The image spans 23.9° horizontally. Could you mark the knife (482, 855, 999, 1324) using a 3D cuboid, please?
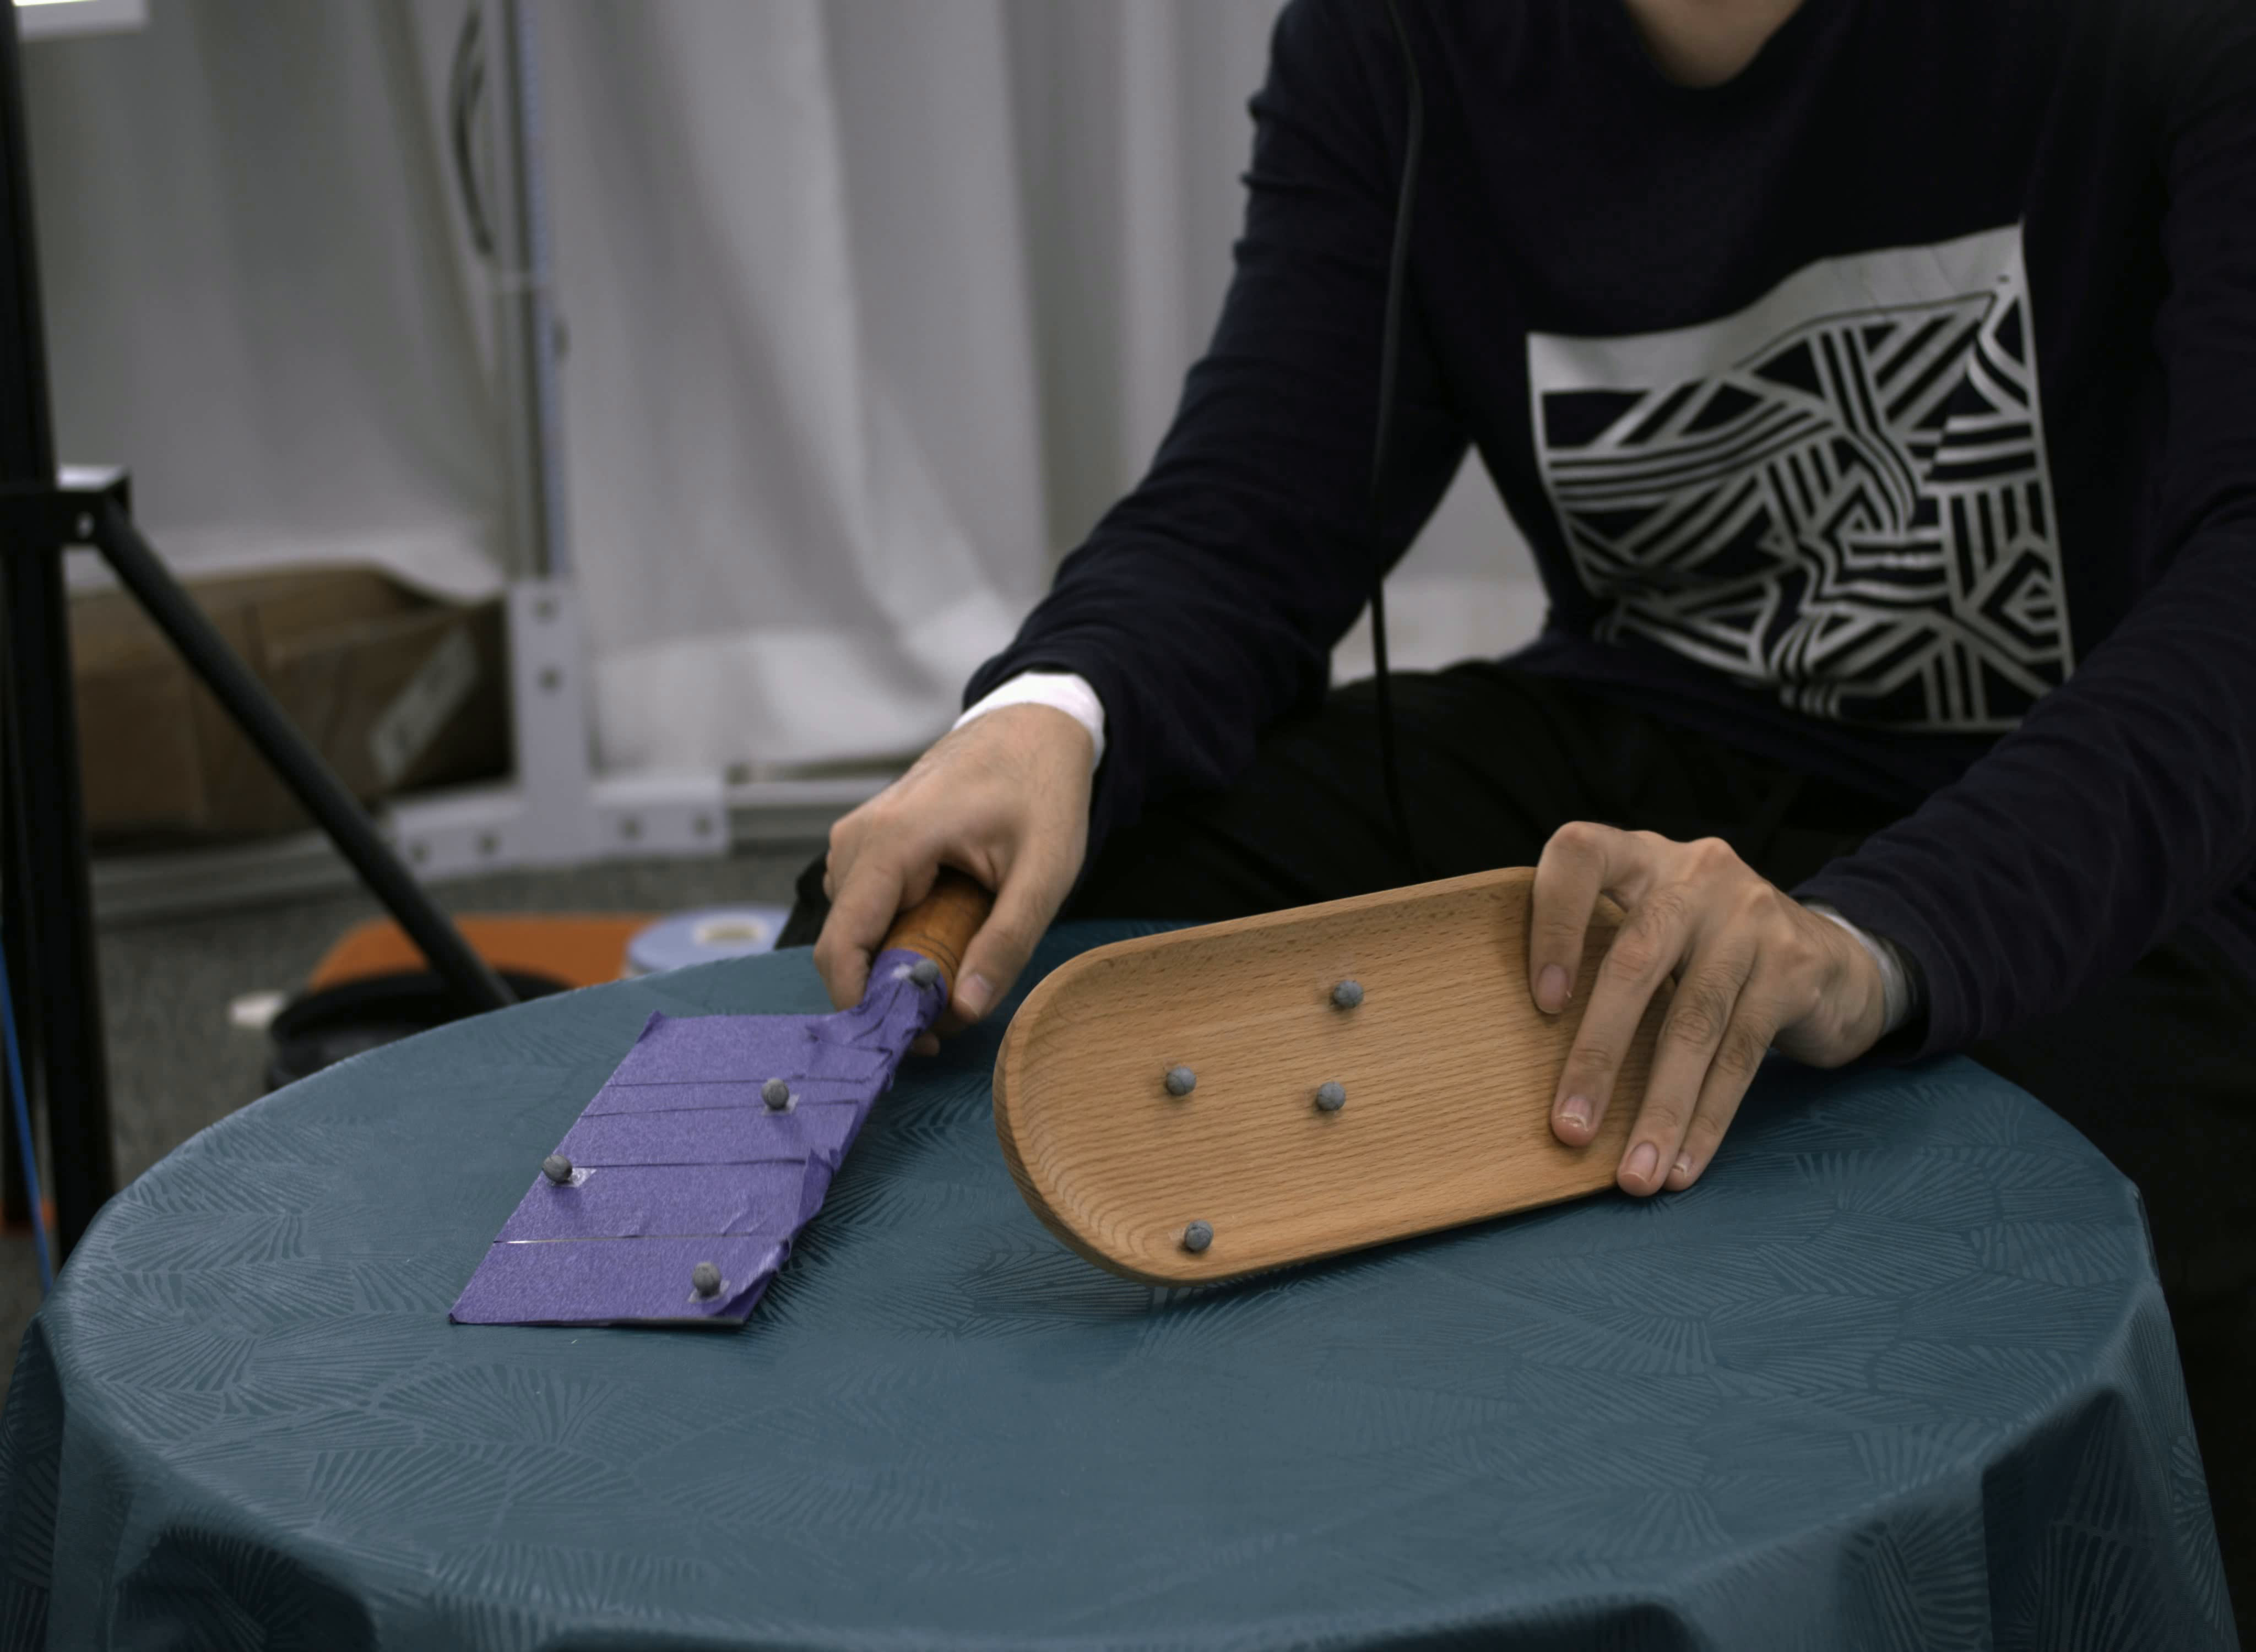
[{"bbox_3d":[-0.114,0.076,1.608,0.104,0.032,0.314,0,20,13],"label":"knife"}]

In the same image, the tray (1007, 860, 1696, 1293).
[{"bbox_3d":[0.066,0.071,1.521,0.226,0.103,0.020,-11,-16,-31],"label":"tray"}]
